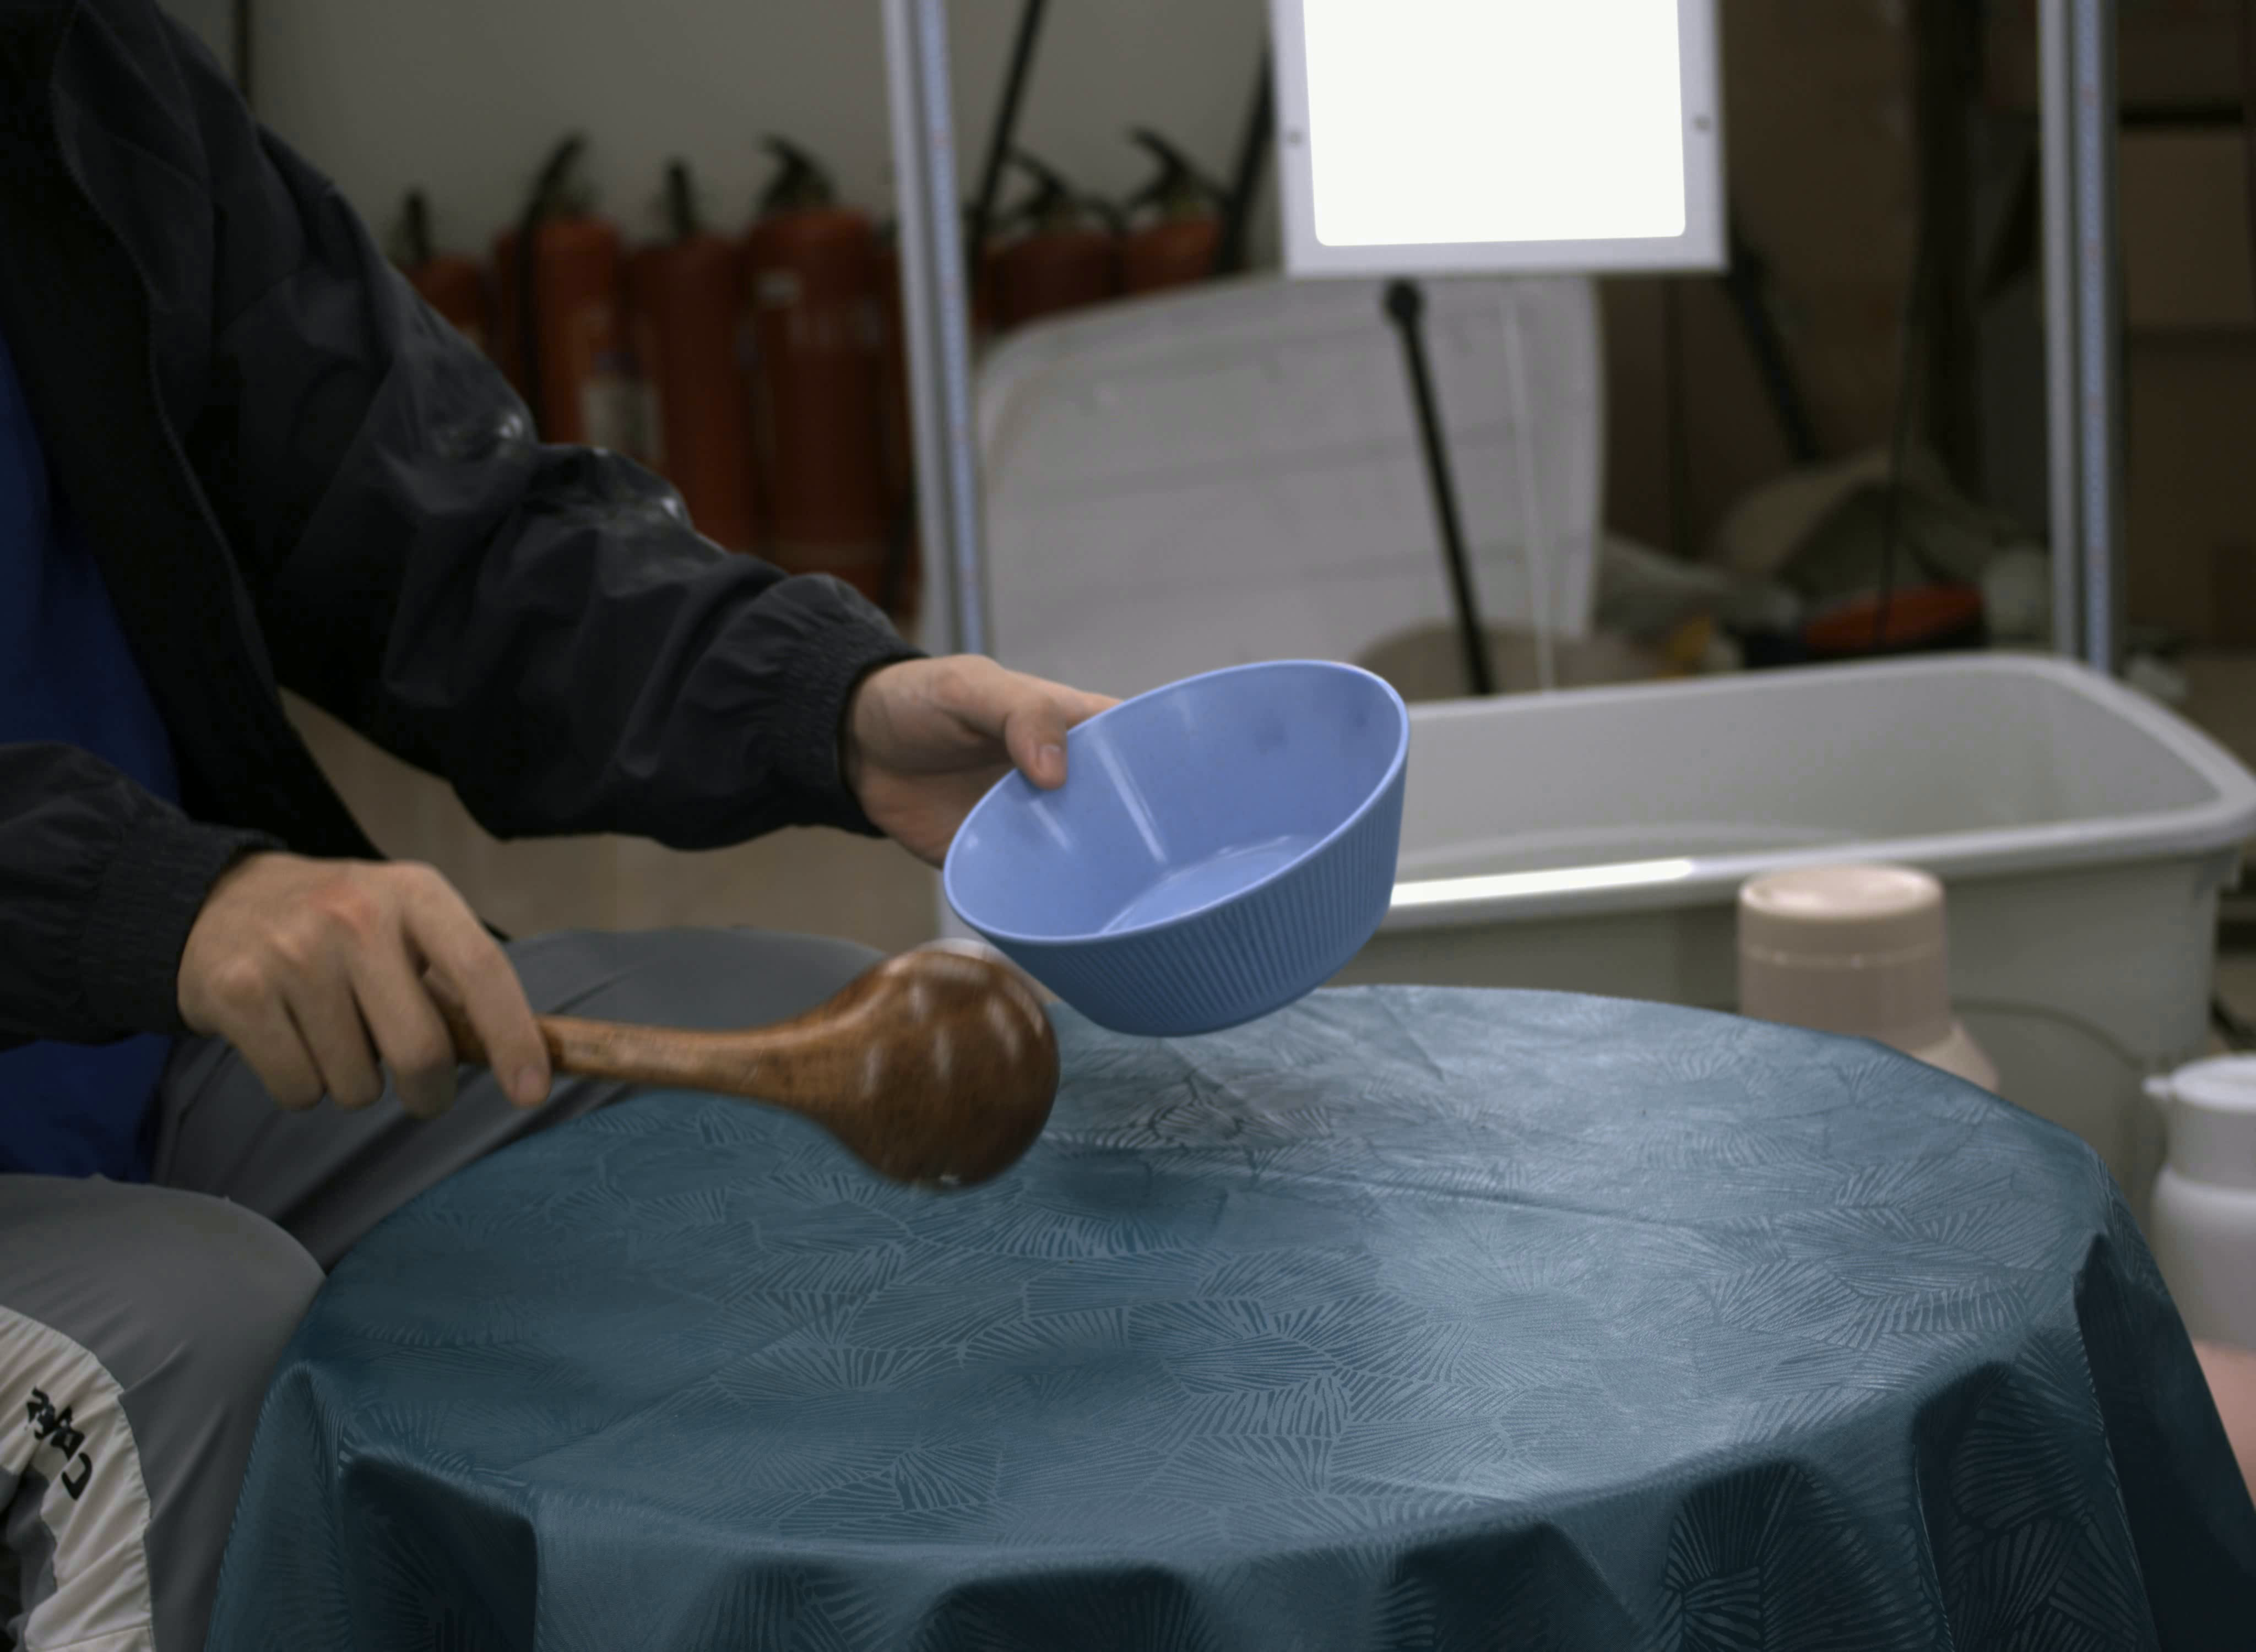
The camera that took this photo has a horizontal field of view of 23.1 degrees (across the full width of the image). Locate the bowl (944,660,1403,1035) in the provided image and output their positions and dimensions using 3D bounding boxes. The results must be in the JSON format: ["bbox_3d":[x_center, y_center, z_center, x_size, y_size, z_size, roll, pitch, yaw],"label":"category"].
[{"bbox_3d":[0.027,0.015,1.952,0.177,0.070,0.175,-21,26,9],"label":"bowl"}]

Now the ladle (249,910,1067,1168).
[{"bbox_3d":[-0.152,0.066,1.798,0.279,0.082,0.075,1,-3,27],"label":"ladle"}]
